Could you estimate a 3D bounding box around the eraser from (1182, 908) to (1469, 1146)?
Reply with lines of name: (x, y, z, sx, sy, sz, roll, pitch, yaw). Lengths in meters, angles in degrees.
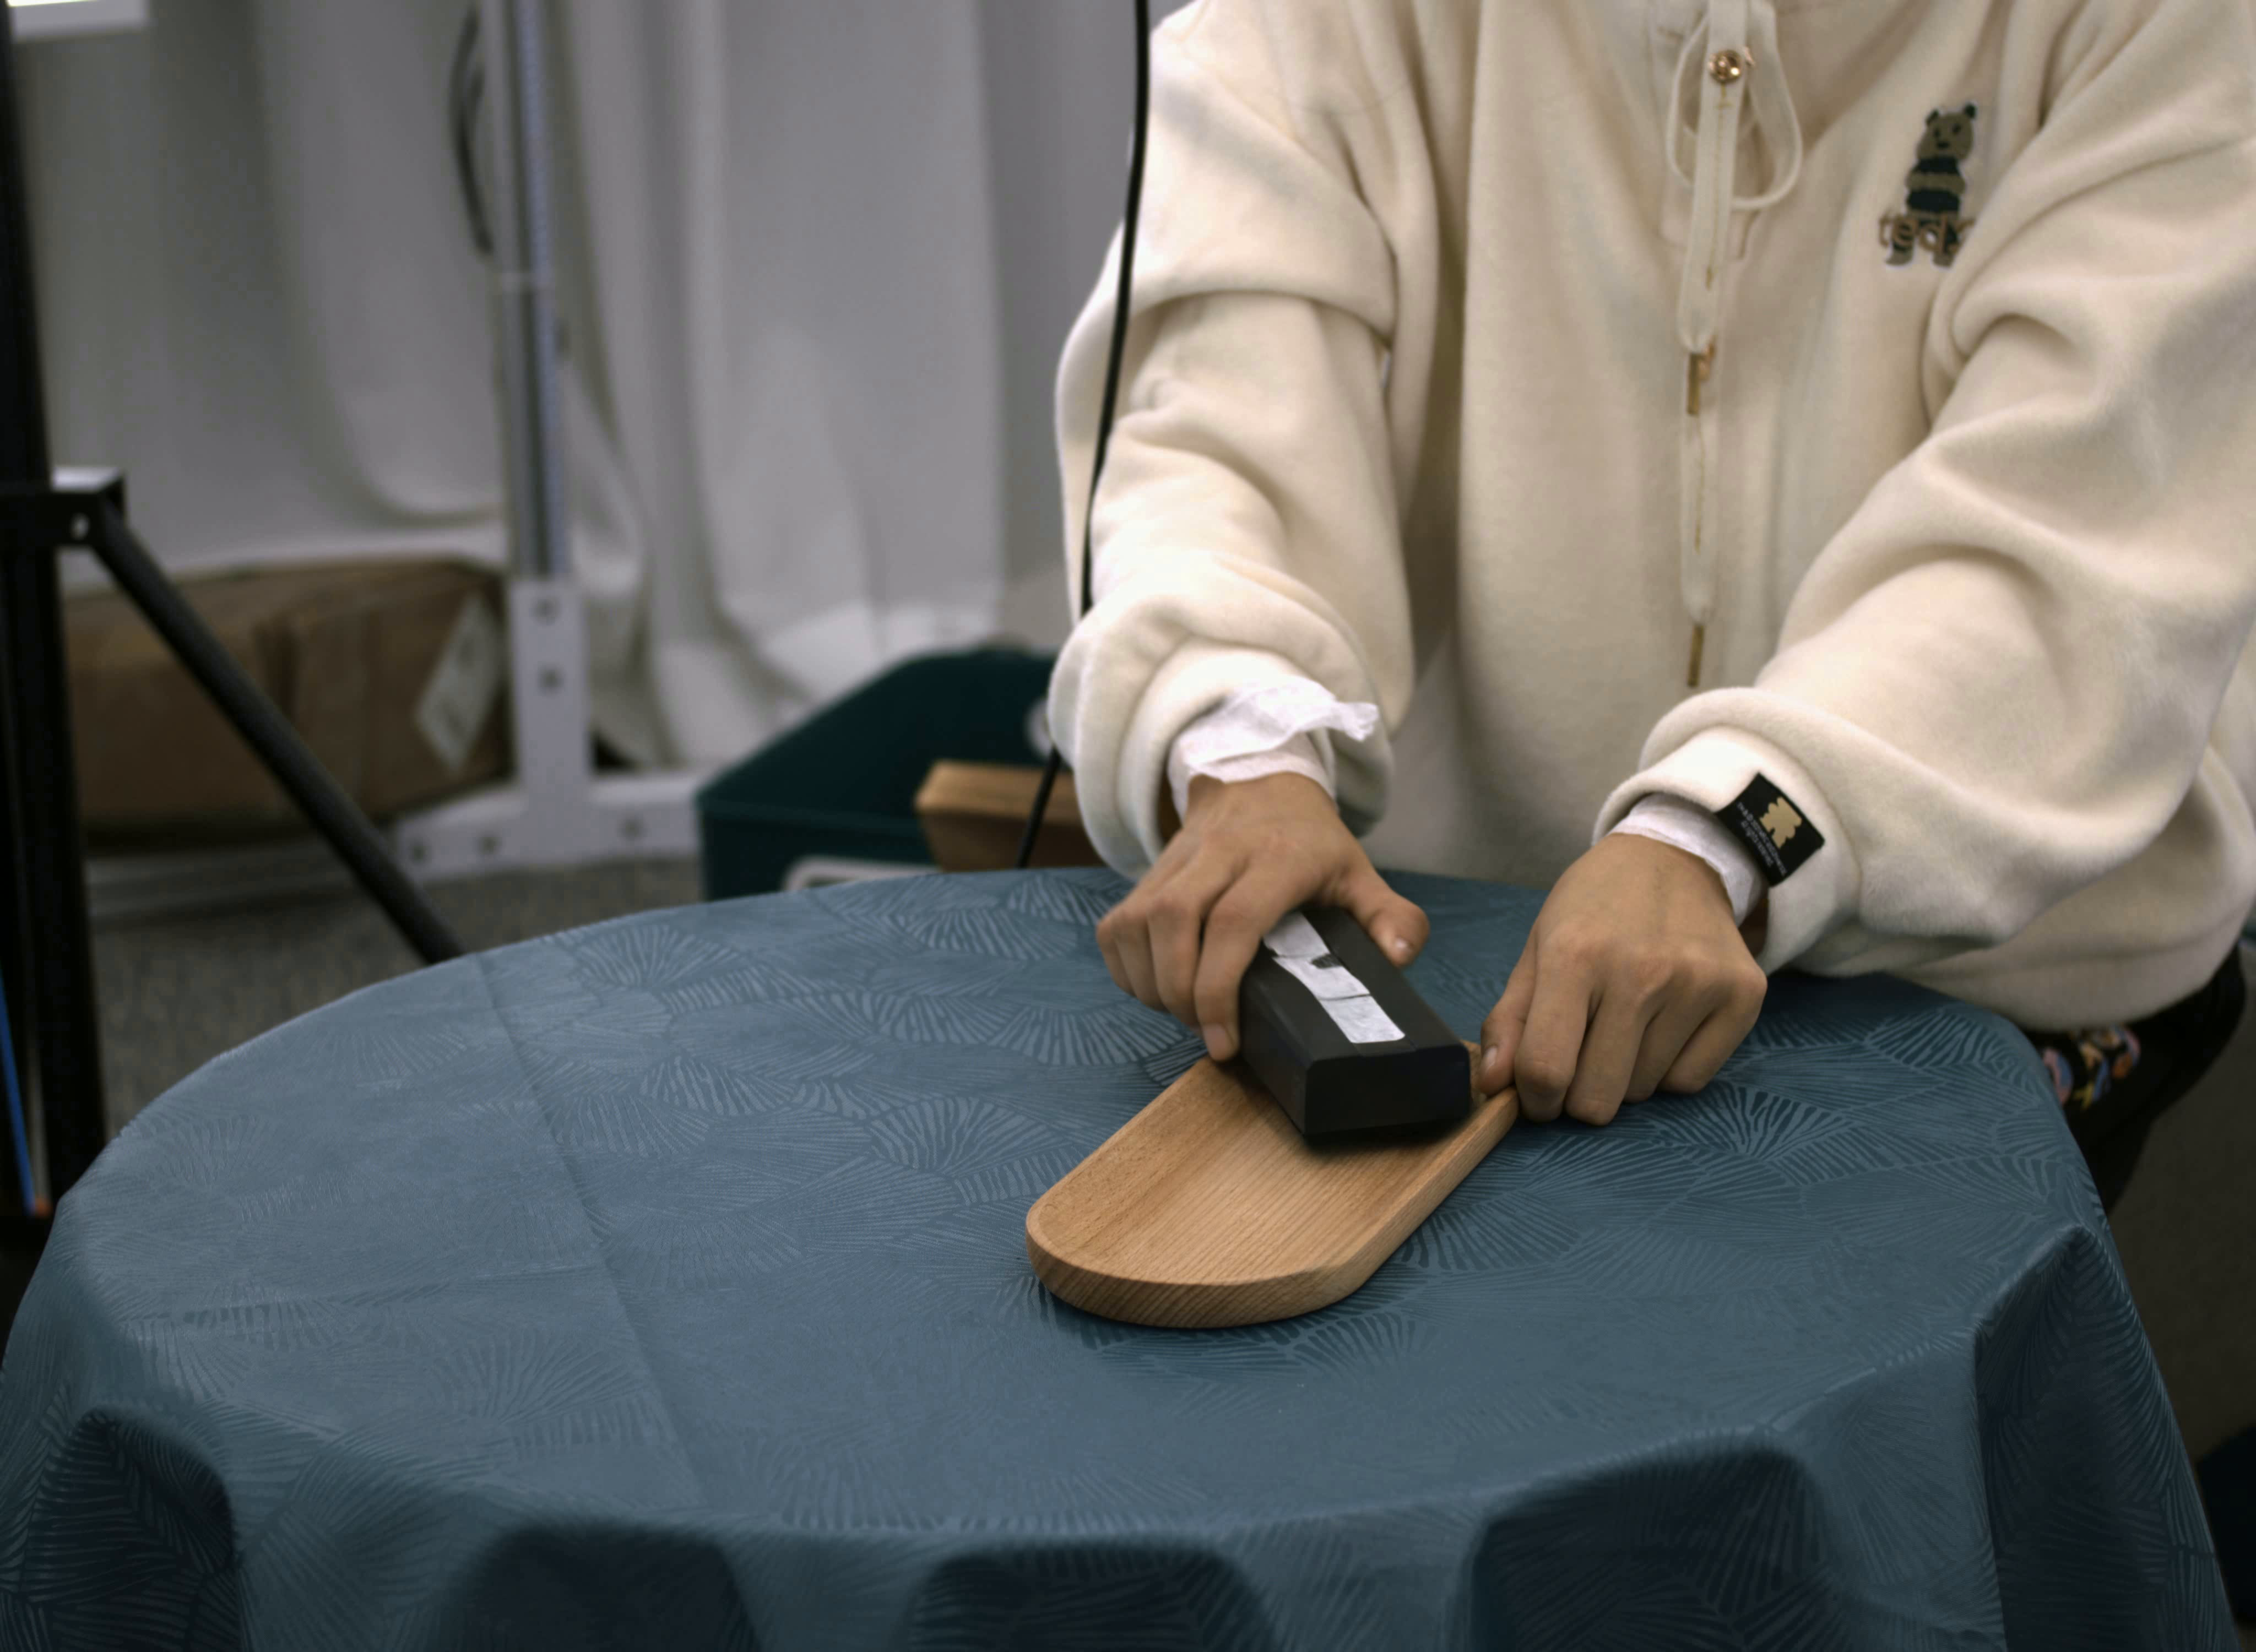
eraser: (0.059, 0.060, 1.612, 0.052, 0.030, 0.127, 0, 20, -16)

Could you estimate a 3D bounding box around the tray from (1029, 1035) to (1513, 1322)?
tray: (0.044, 0.099, 1.550, 0.103, 0.020, 0.228, 6, 16, 19)
